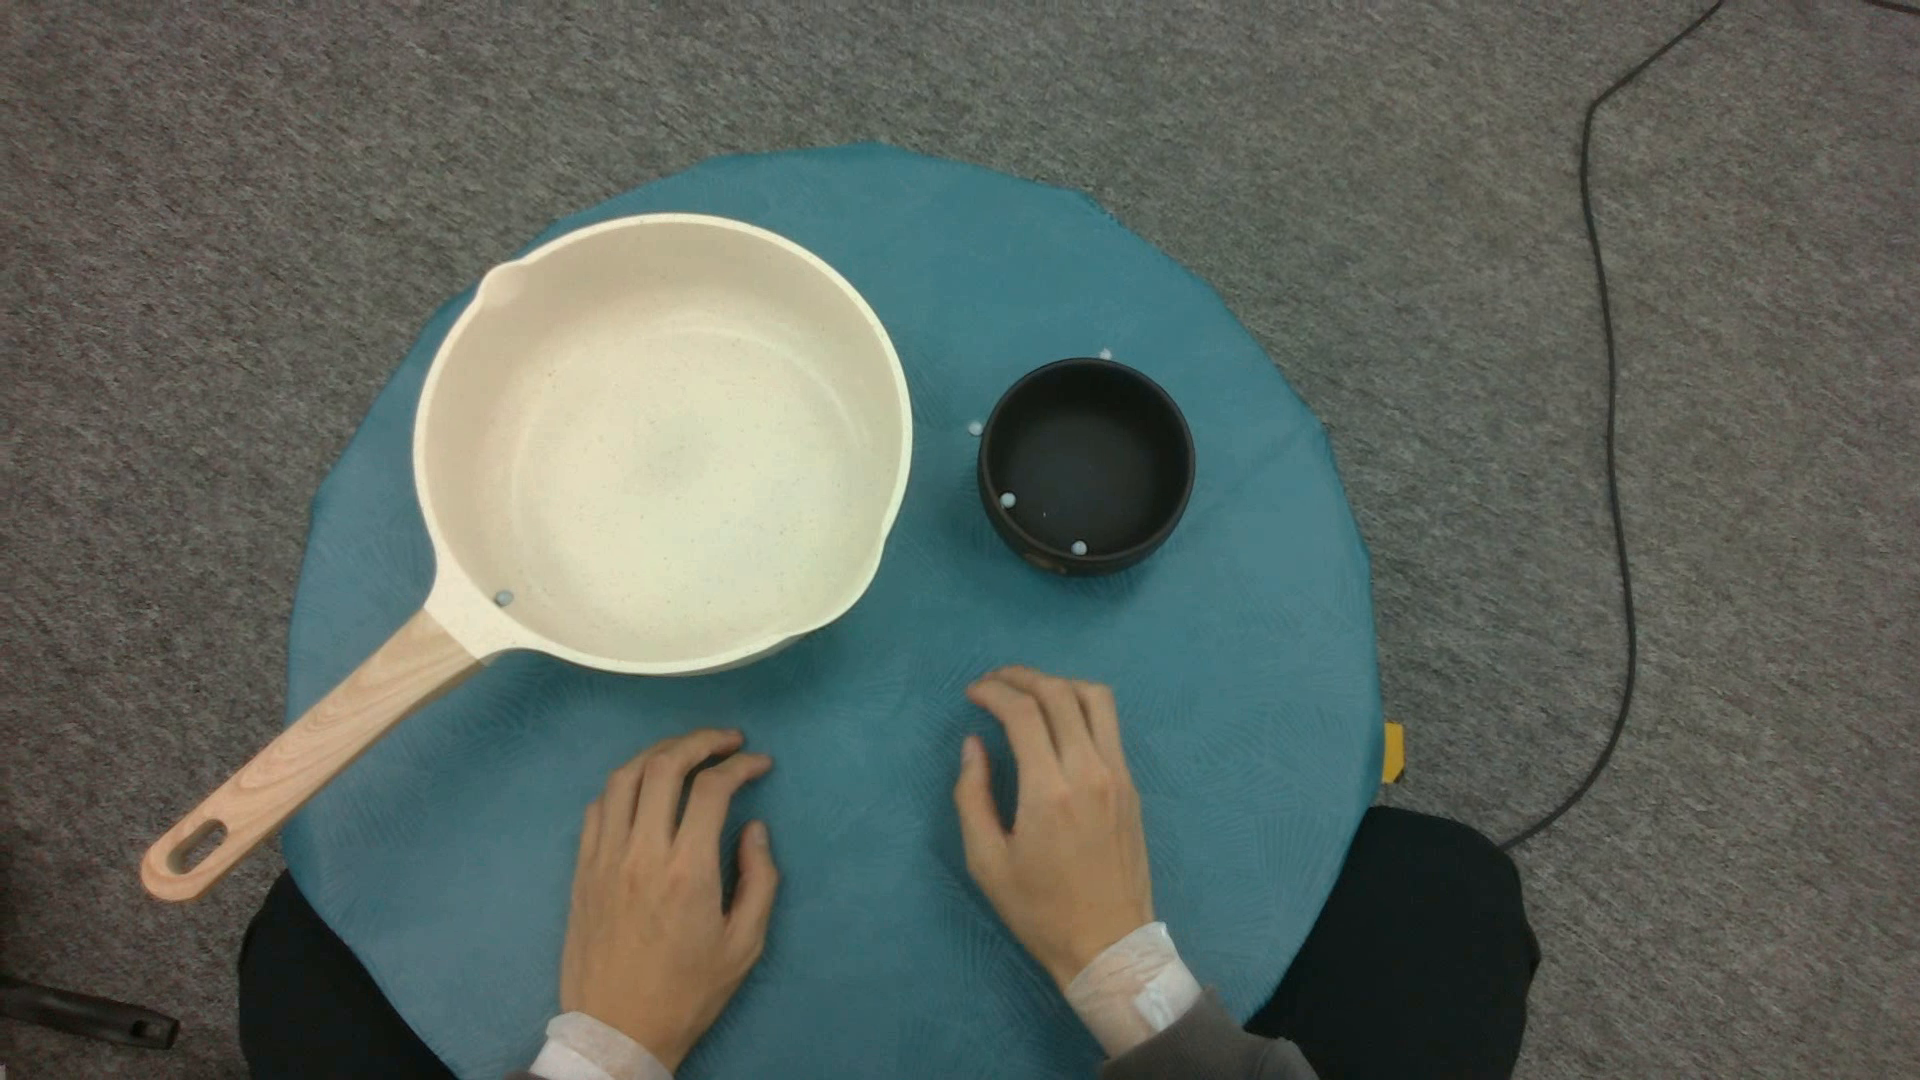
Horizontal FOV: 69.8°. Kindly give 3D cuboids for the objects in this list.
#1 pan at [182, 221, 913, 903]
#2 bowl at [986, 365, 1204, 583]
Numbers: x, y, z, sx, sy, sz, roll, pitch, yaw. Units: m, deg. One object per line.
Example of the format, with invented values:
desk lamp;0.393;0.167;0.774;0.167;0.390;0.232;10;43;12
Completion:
pan;-0.213;0.019;0.731;0.263;0.101;0.436;41;76;9
bowl;0.072;-0.031;0.768;0.118;0.069;0.118;1;74;-3
